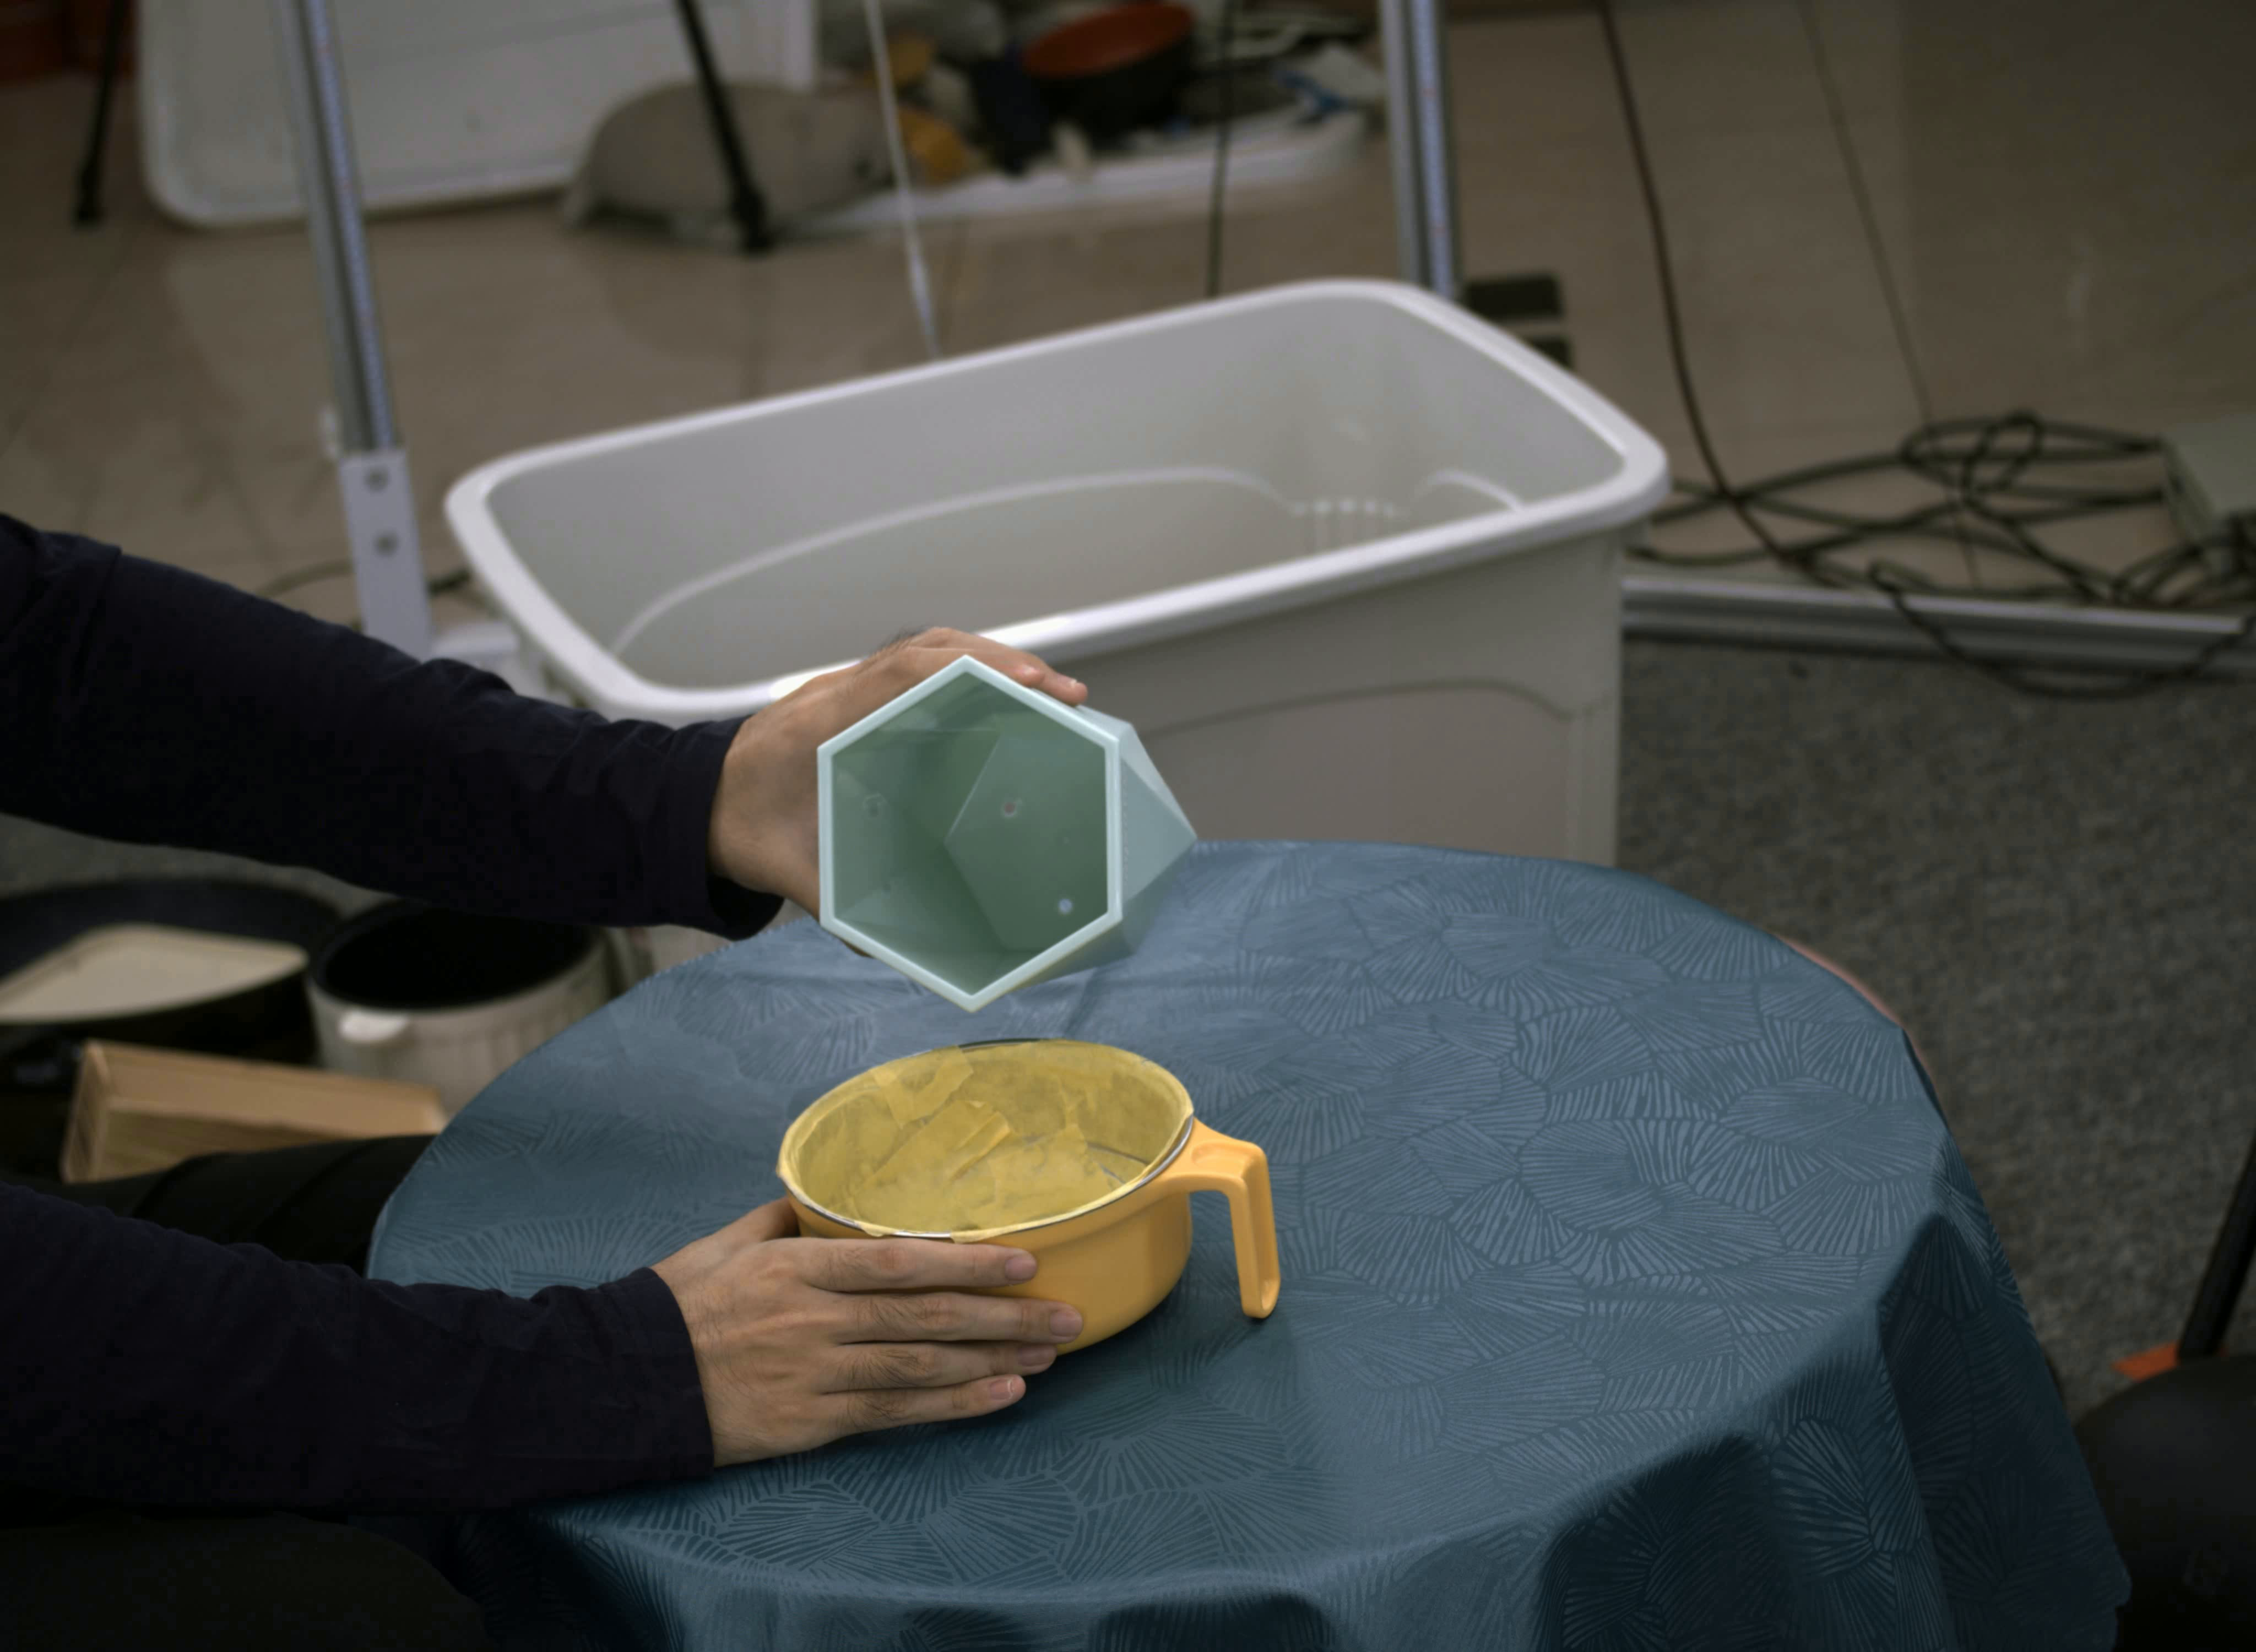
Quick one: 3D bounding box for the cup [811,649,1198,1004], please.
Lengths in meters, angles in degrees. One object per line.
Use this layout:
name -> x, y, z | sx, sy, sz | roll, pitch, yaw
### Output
cup -> -0.041, 0.003, 2.144 | 0.115, 0.131, 0.163 | -3, -2, 14

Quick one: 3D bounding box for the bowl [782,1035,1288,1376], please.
bowl -> -0.033, 0.143, 2.068 | 0.179, 0.075, 0.151 | -1, 25, 17
